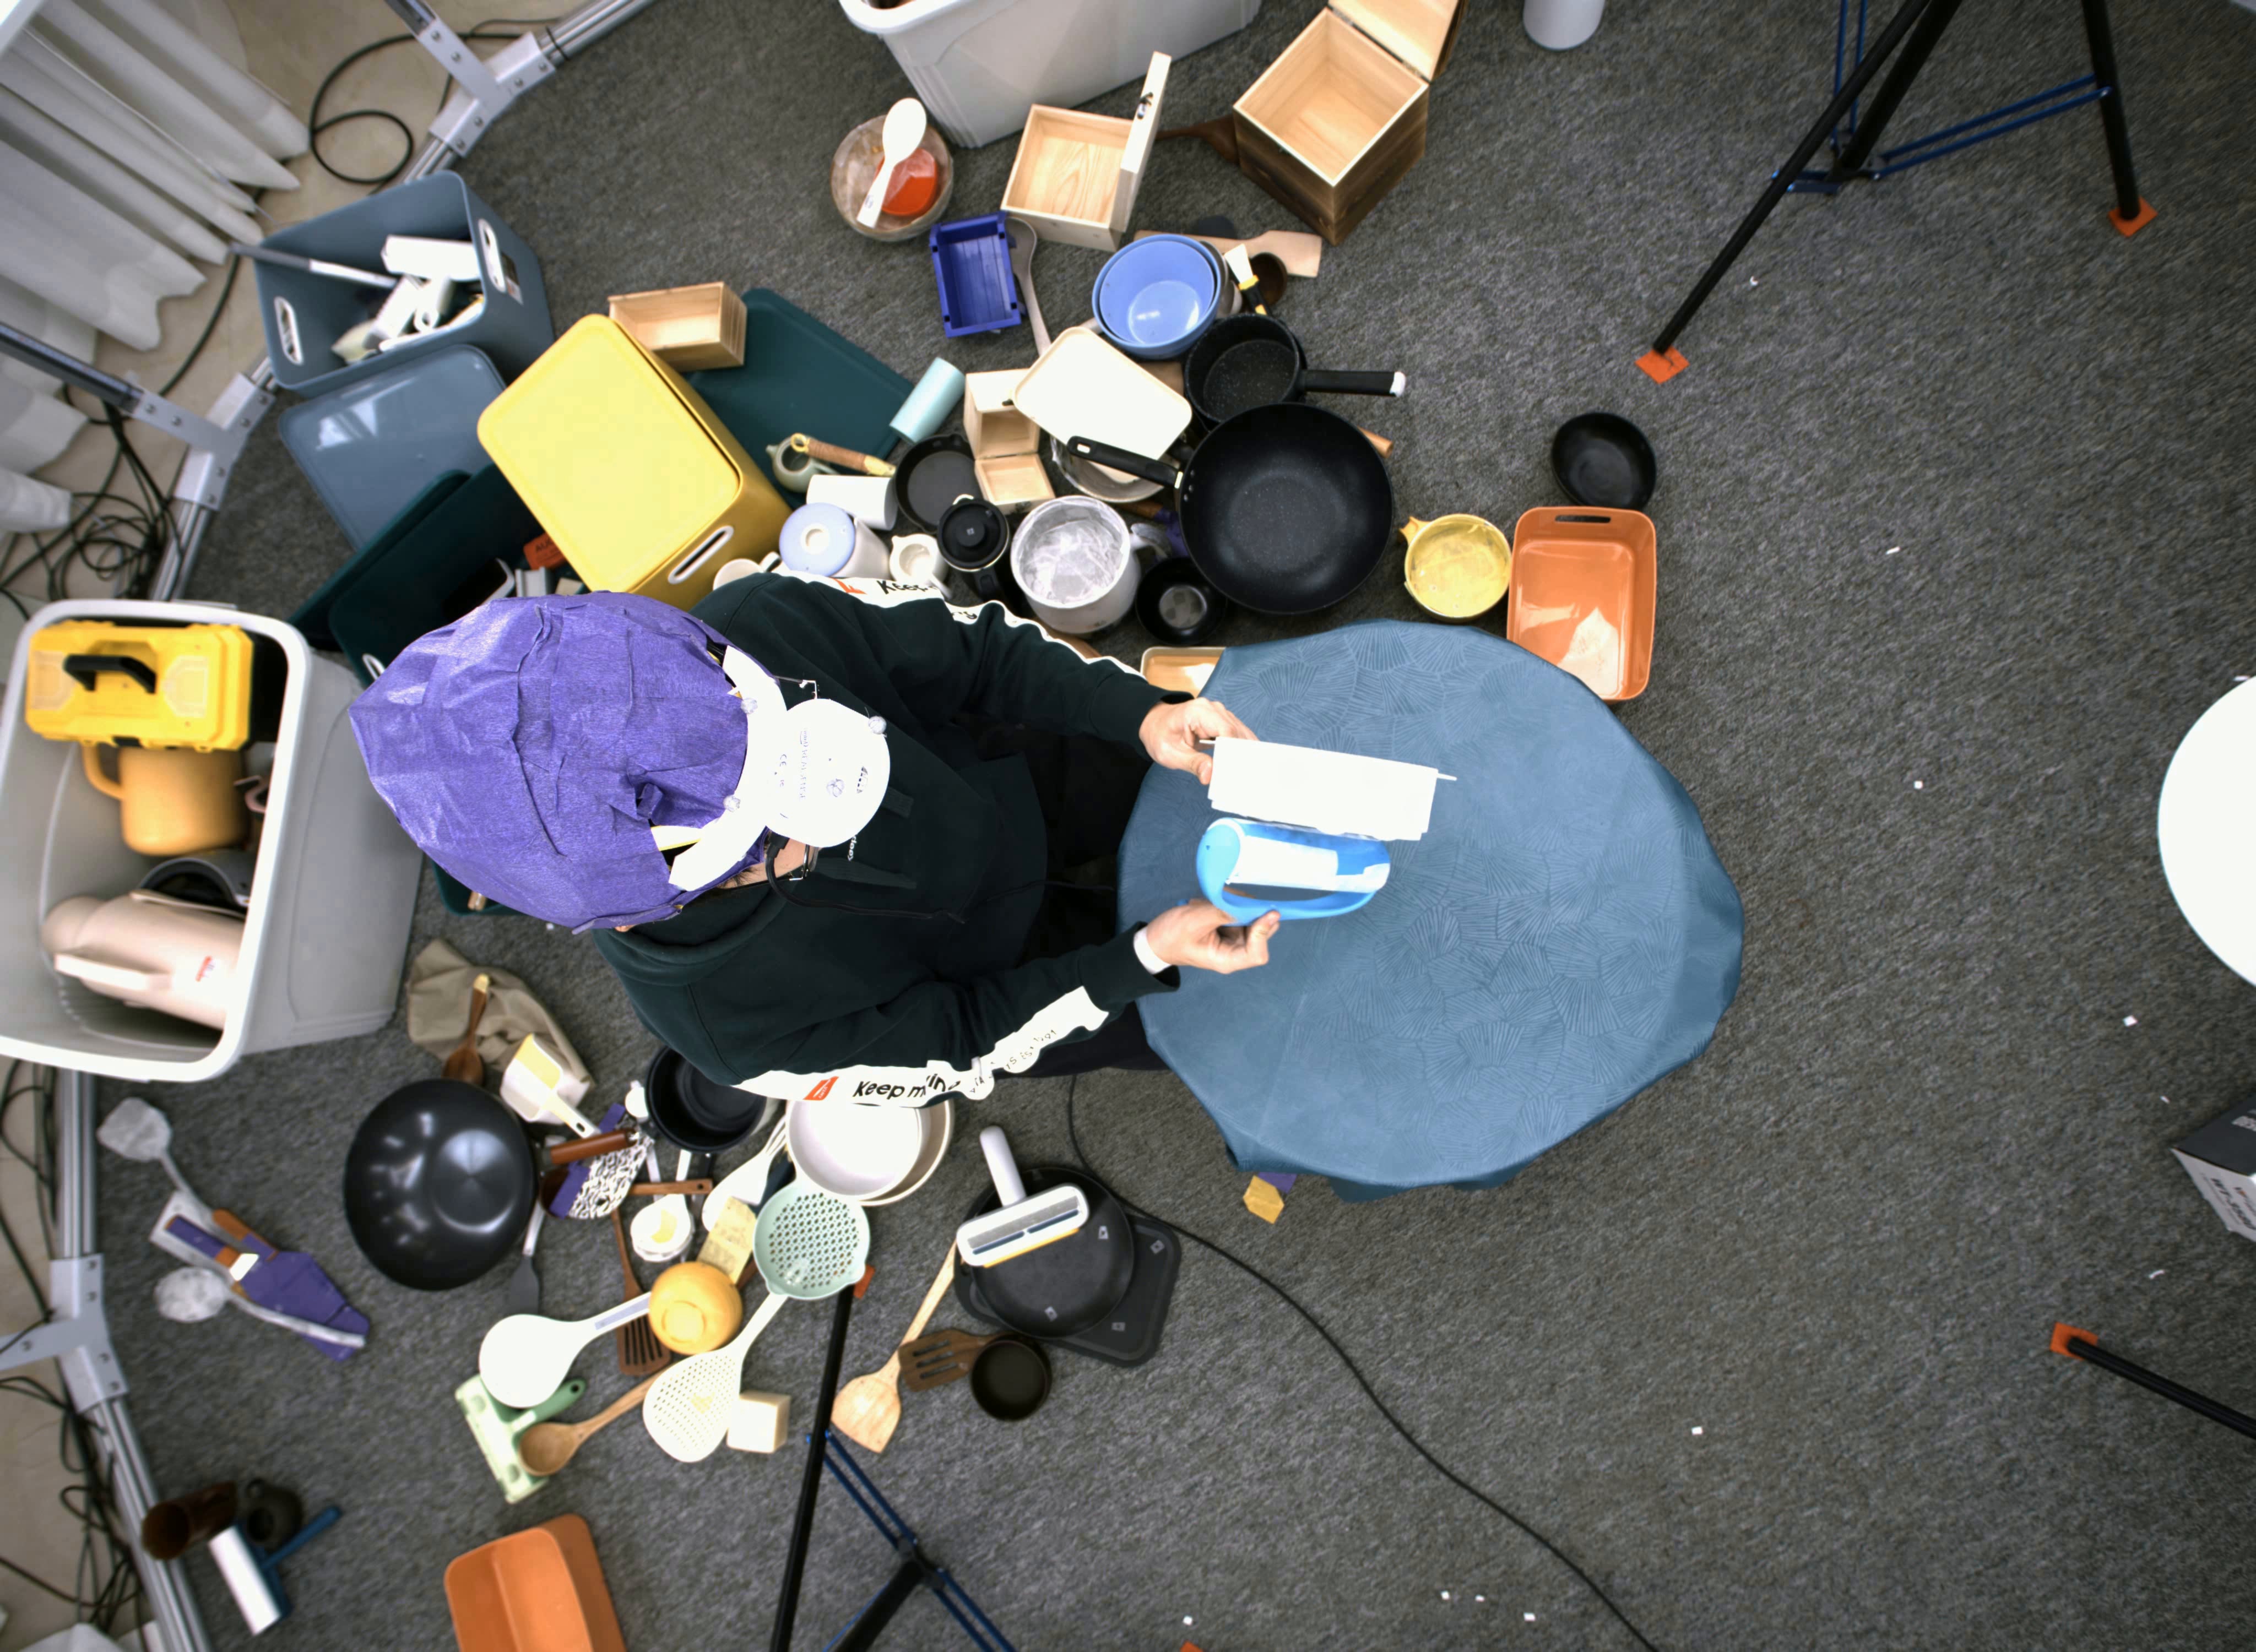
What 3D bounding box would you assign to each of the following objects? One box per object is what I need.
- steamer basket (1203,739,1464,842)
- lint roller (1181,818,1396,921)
[{"bbox_3d":[0.173,-0.030,1.202,0.231,0.201,0.069,9,93,25],"label":"steamer basket"},{"bbox_3d":[0.117,0.053,1.240,0.184,0.227,0.067,-40,60,44],"label":"lint roller"}]
